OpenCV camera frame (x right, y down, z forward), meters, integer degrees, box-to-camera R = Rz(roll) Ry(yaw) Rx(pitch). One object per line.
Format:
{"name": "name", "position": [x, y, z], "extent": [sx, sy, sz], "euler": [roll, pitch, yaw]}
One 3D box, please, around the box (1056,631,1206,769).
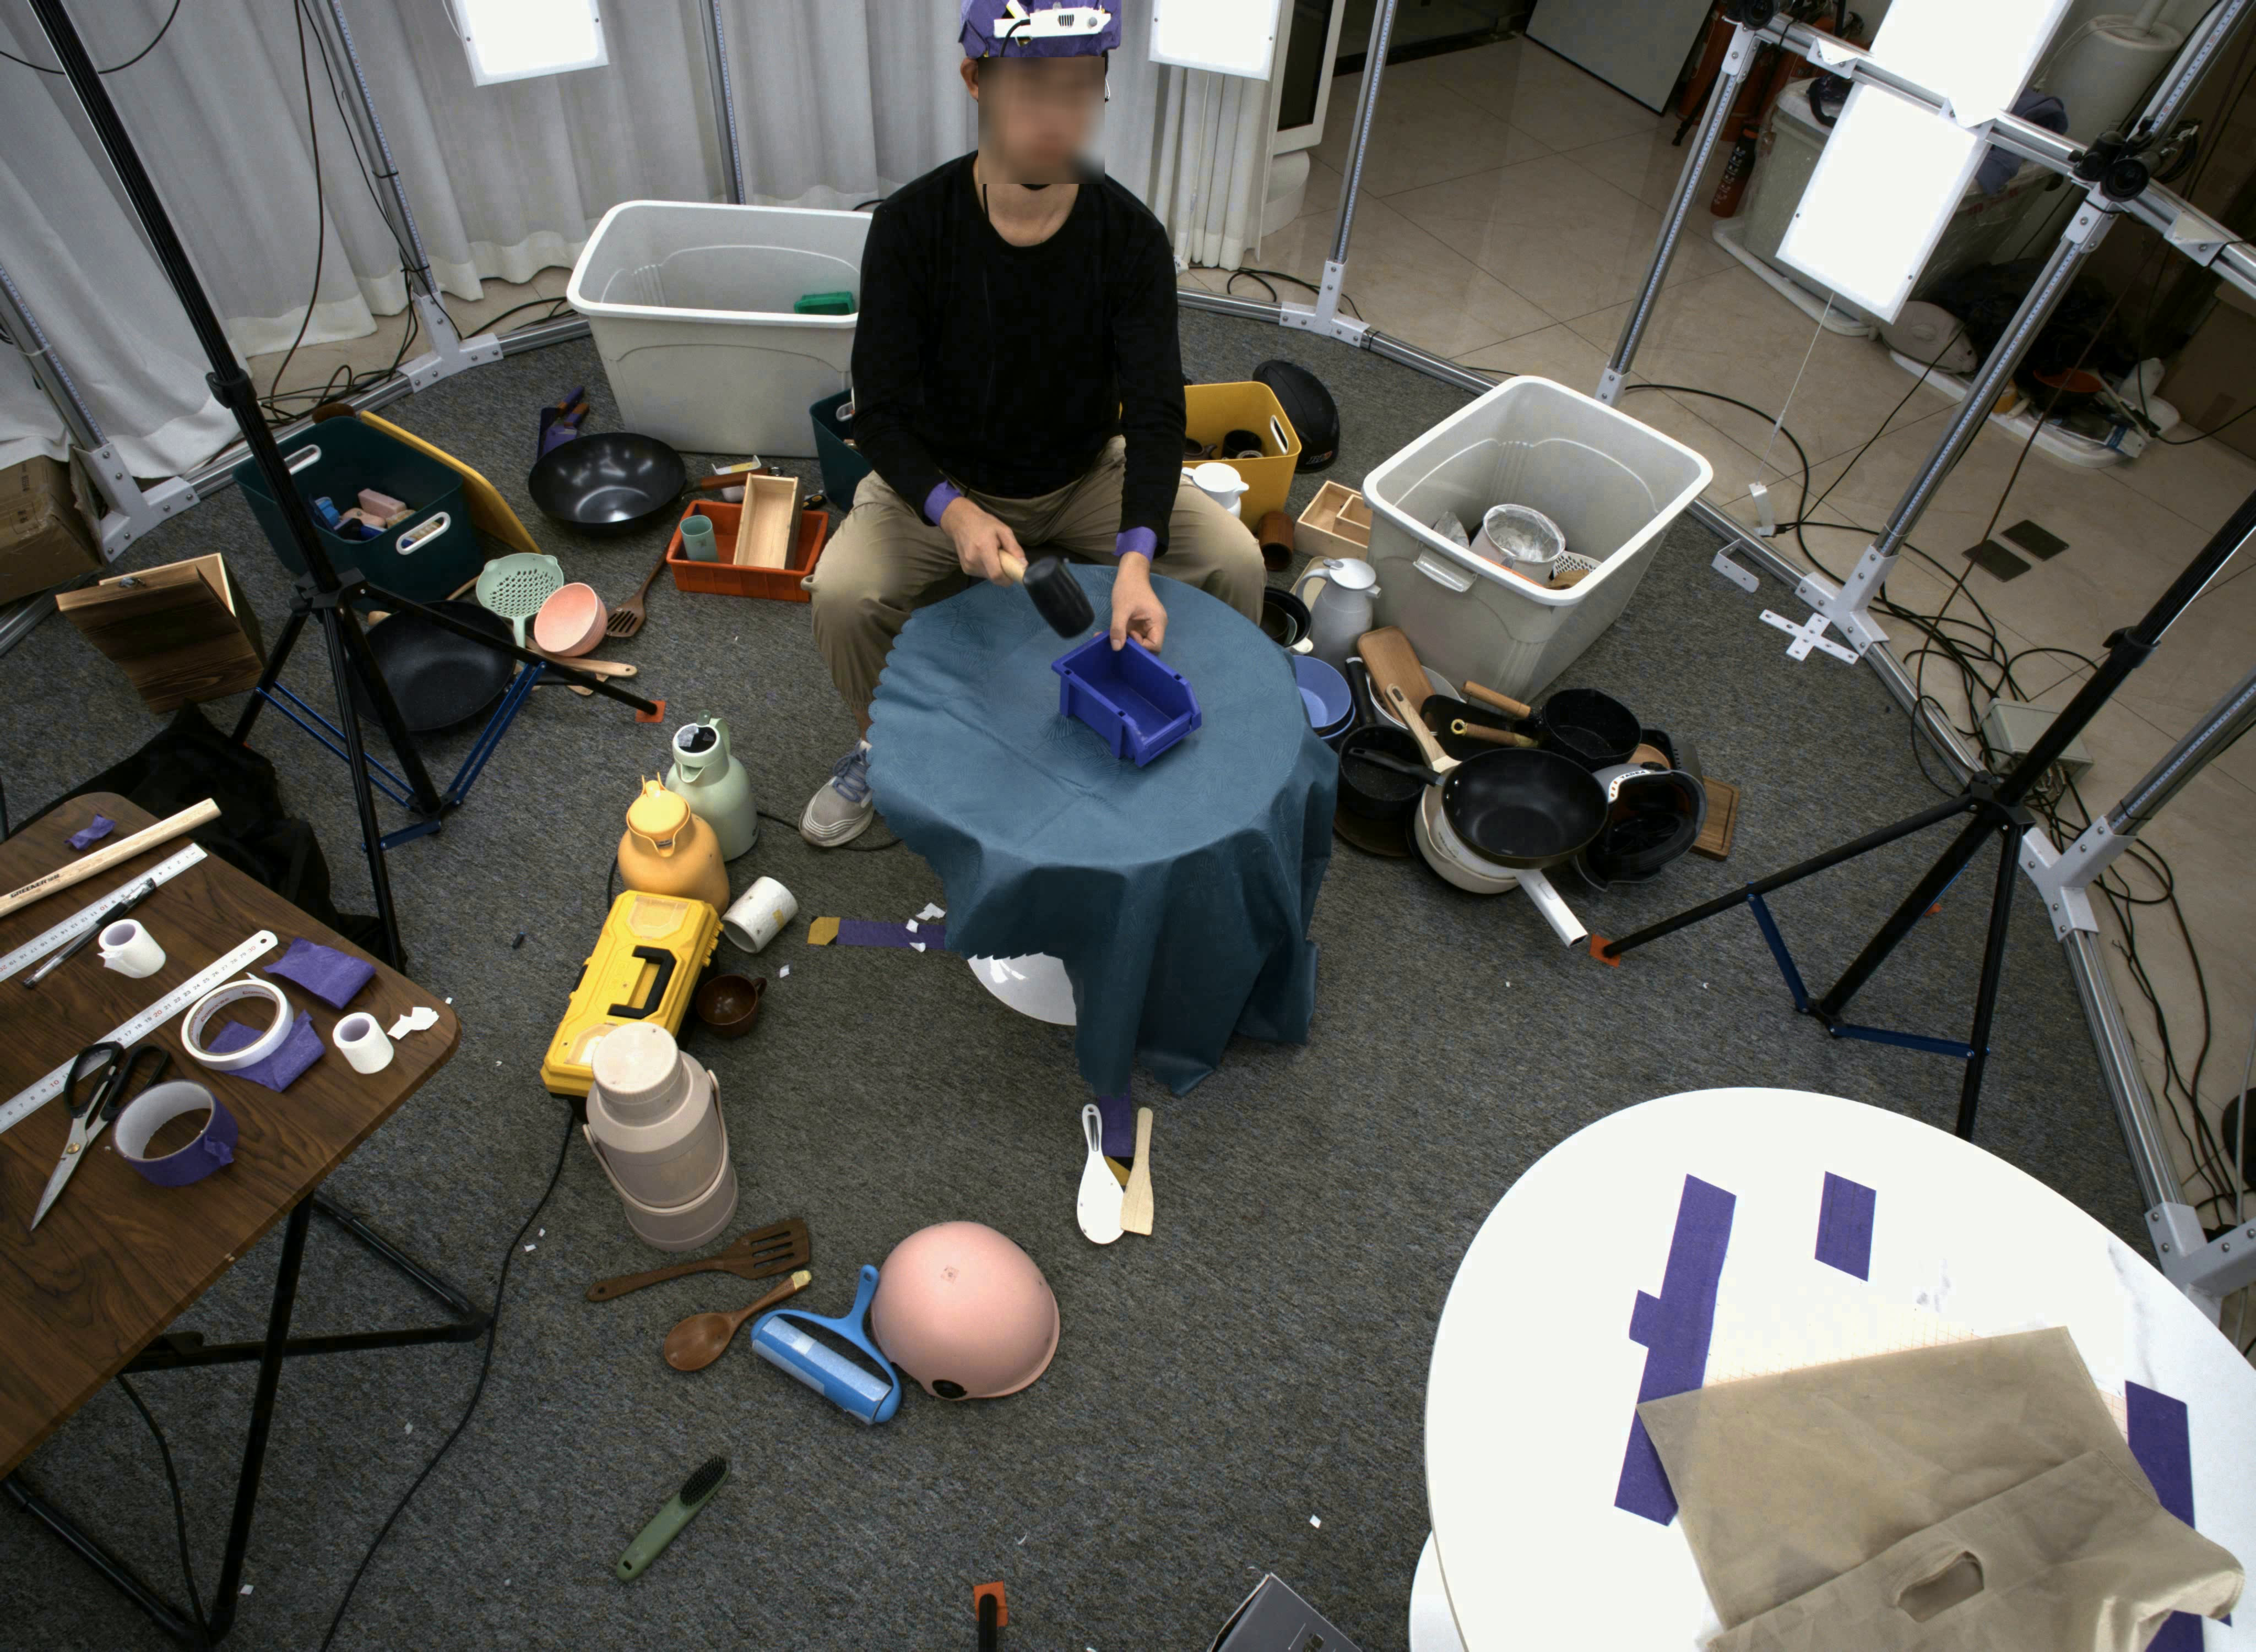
{"name": "box", "position": [0.006, -0.171, 1.766], "extent": [0.125, 0.080, 0.182], "euler": [-33, 56, -28]}

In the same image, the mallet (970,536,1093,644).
{"name": "mallet", "position": [-0.145, -0.355, 1.796], "extent": [0.064, 0.099, 0.346], "euler": [-35, 35, -4]}
